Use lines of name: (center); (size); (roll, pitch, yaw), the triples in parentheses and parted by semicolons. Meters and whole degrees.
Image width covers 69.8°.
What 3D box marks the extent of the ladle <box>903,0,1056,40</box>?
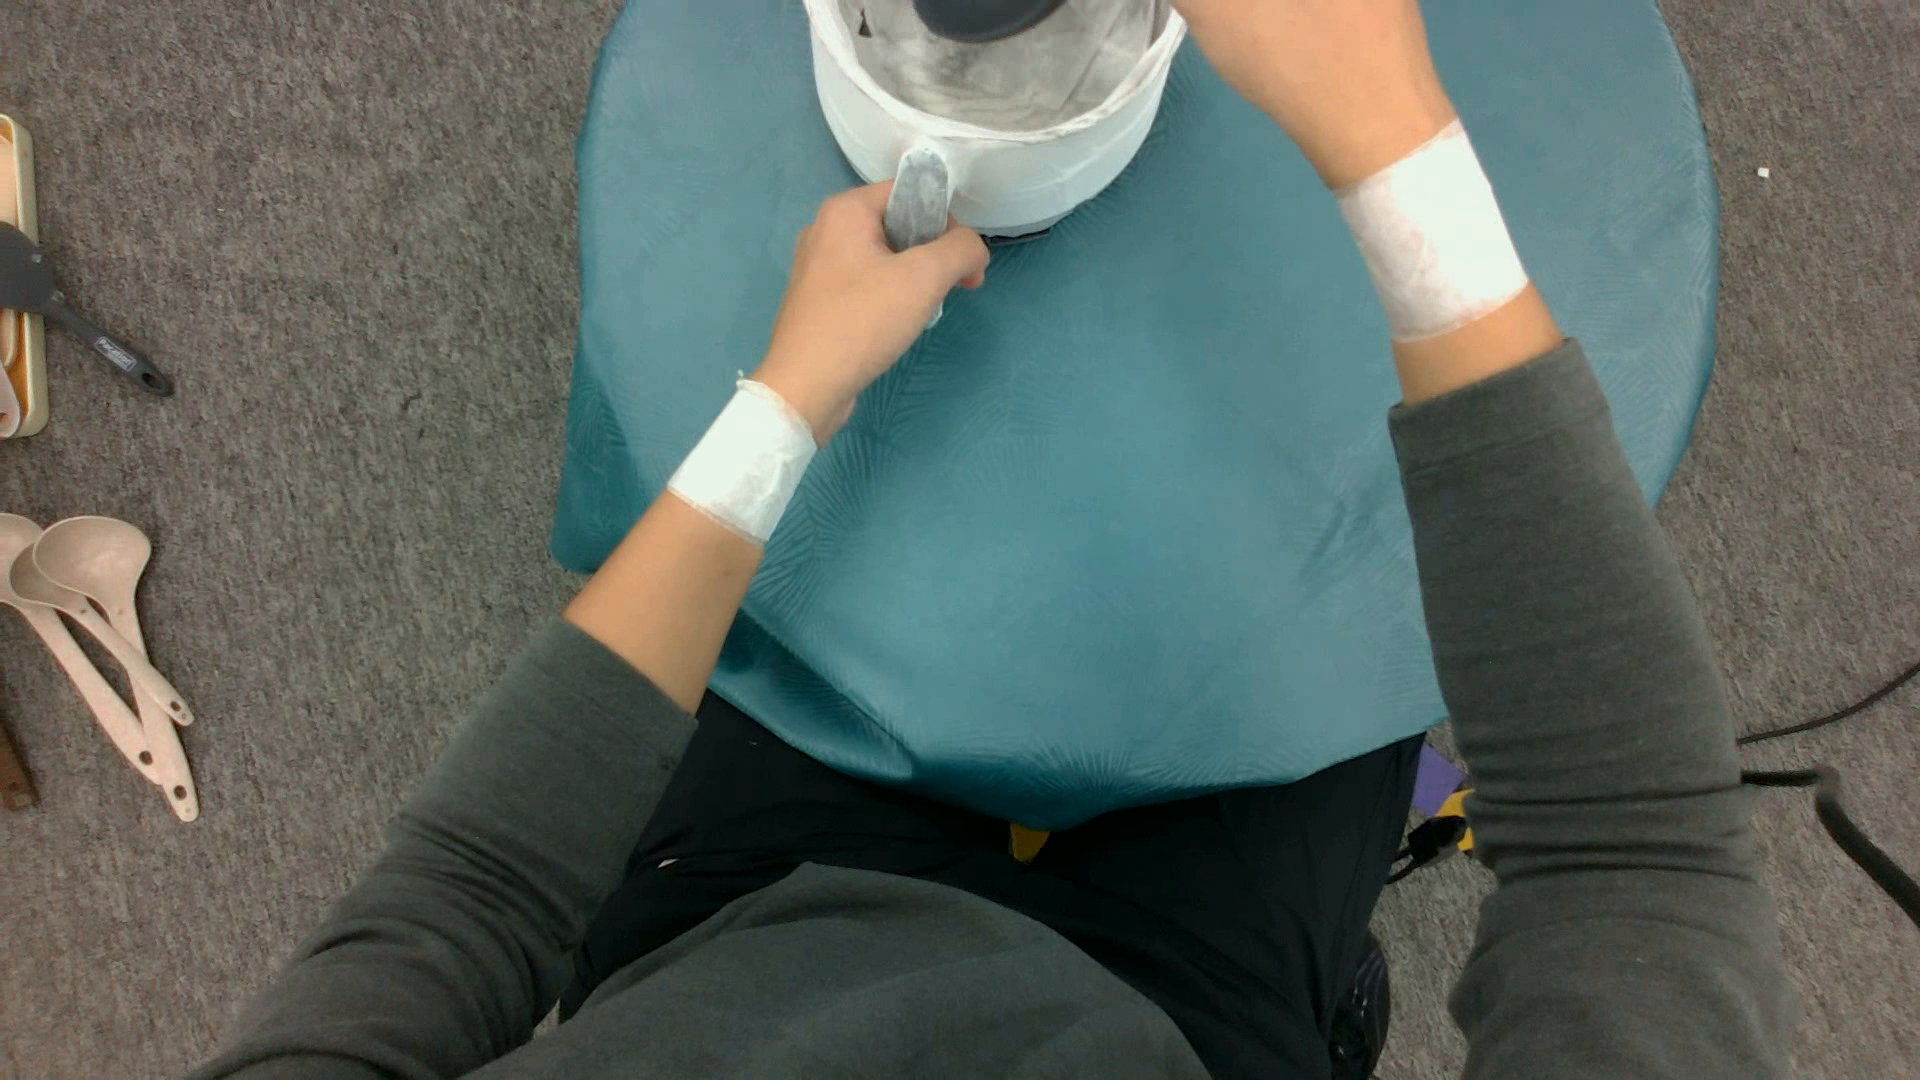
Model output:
ladle: (0.040, -0.245, 0.514); (0.064, 0.314, 0.086); (29, 93, -14)

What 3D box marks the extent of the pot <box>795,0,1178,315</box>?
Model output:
pot: (0.001, -0.227, 0.657); (0.179, 0.136, 0.234); (17, 82, 0)
